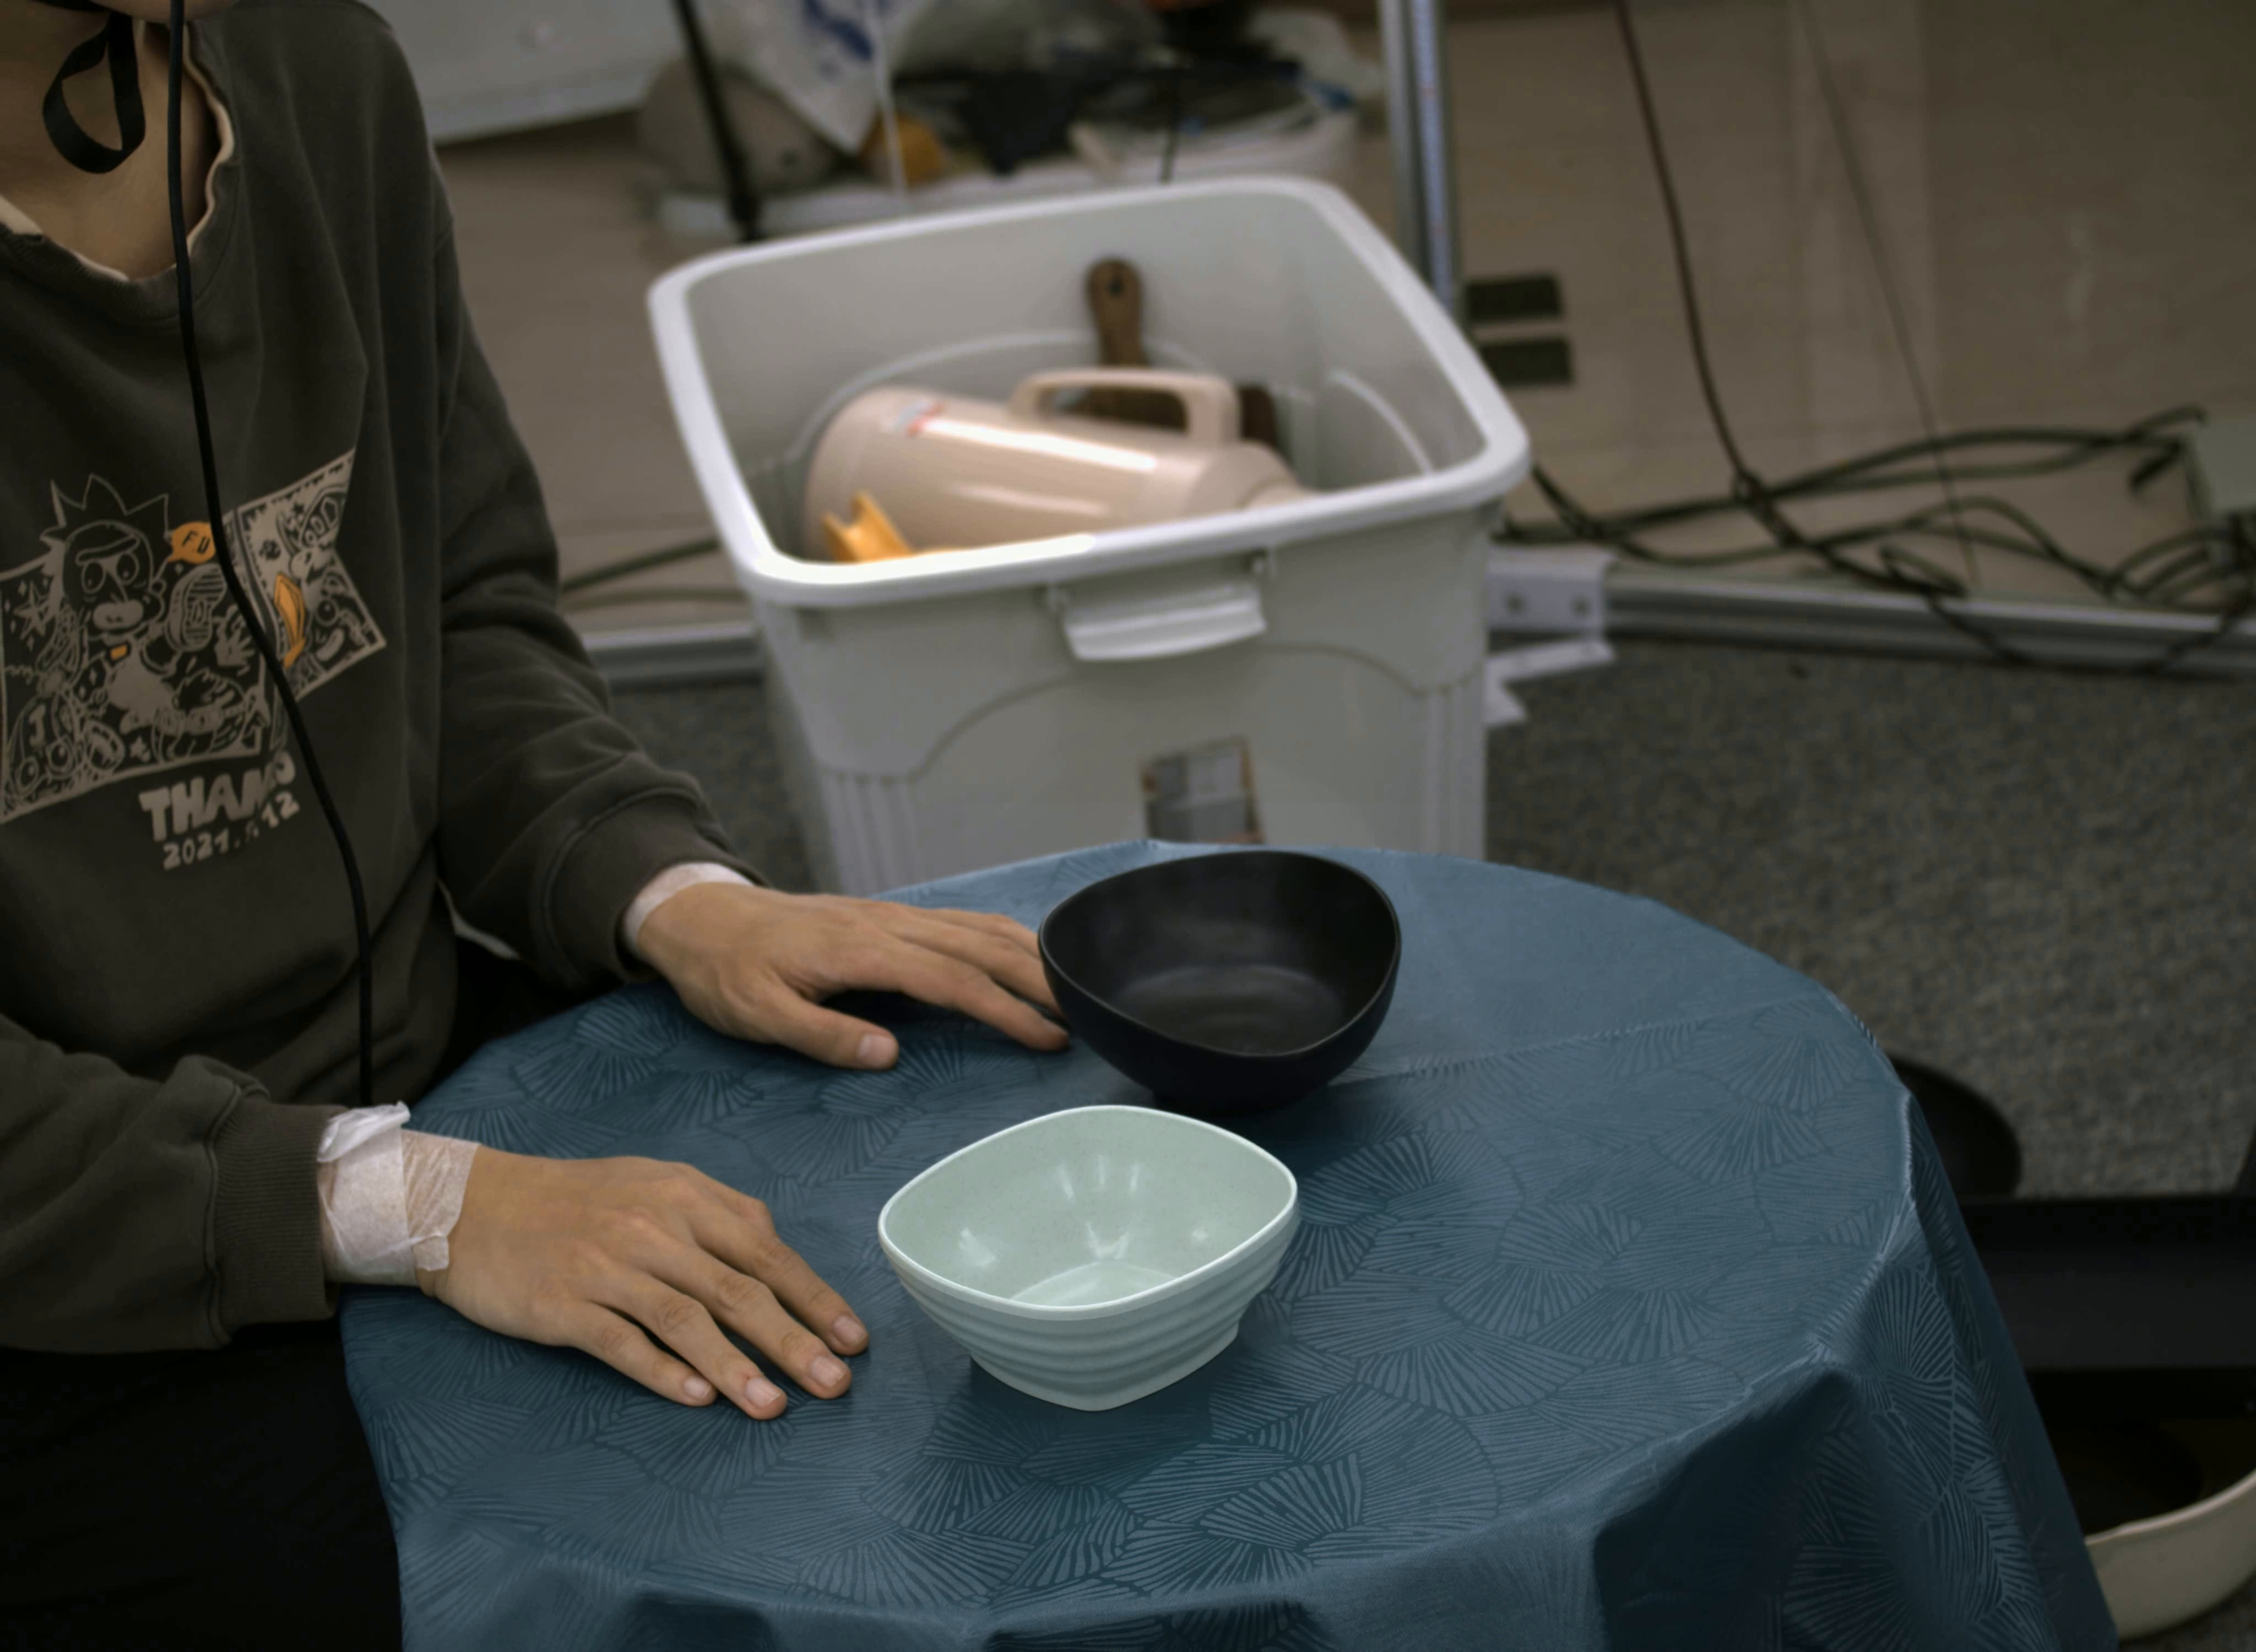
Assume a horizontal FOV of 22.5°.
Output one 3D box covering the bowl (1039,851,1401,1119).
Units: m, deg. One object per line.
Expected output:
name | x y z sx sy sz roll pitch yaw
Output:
bowl | 0.039 0.069 2.211 0.137 0.068 0.168 -15 28 -17

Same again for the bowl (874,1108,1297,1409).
bowl | -0.014 0.160 2.035 0.151 0.059 0.149 -4 24 2
